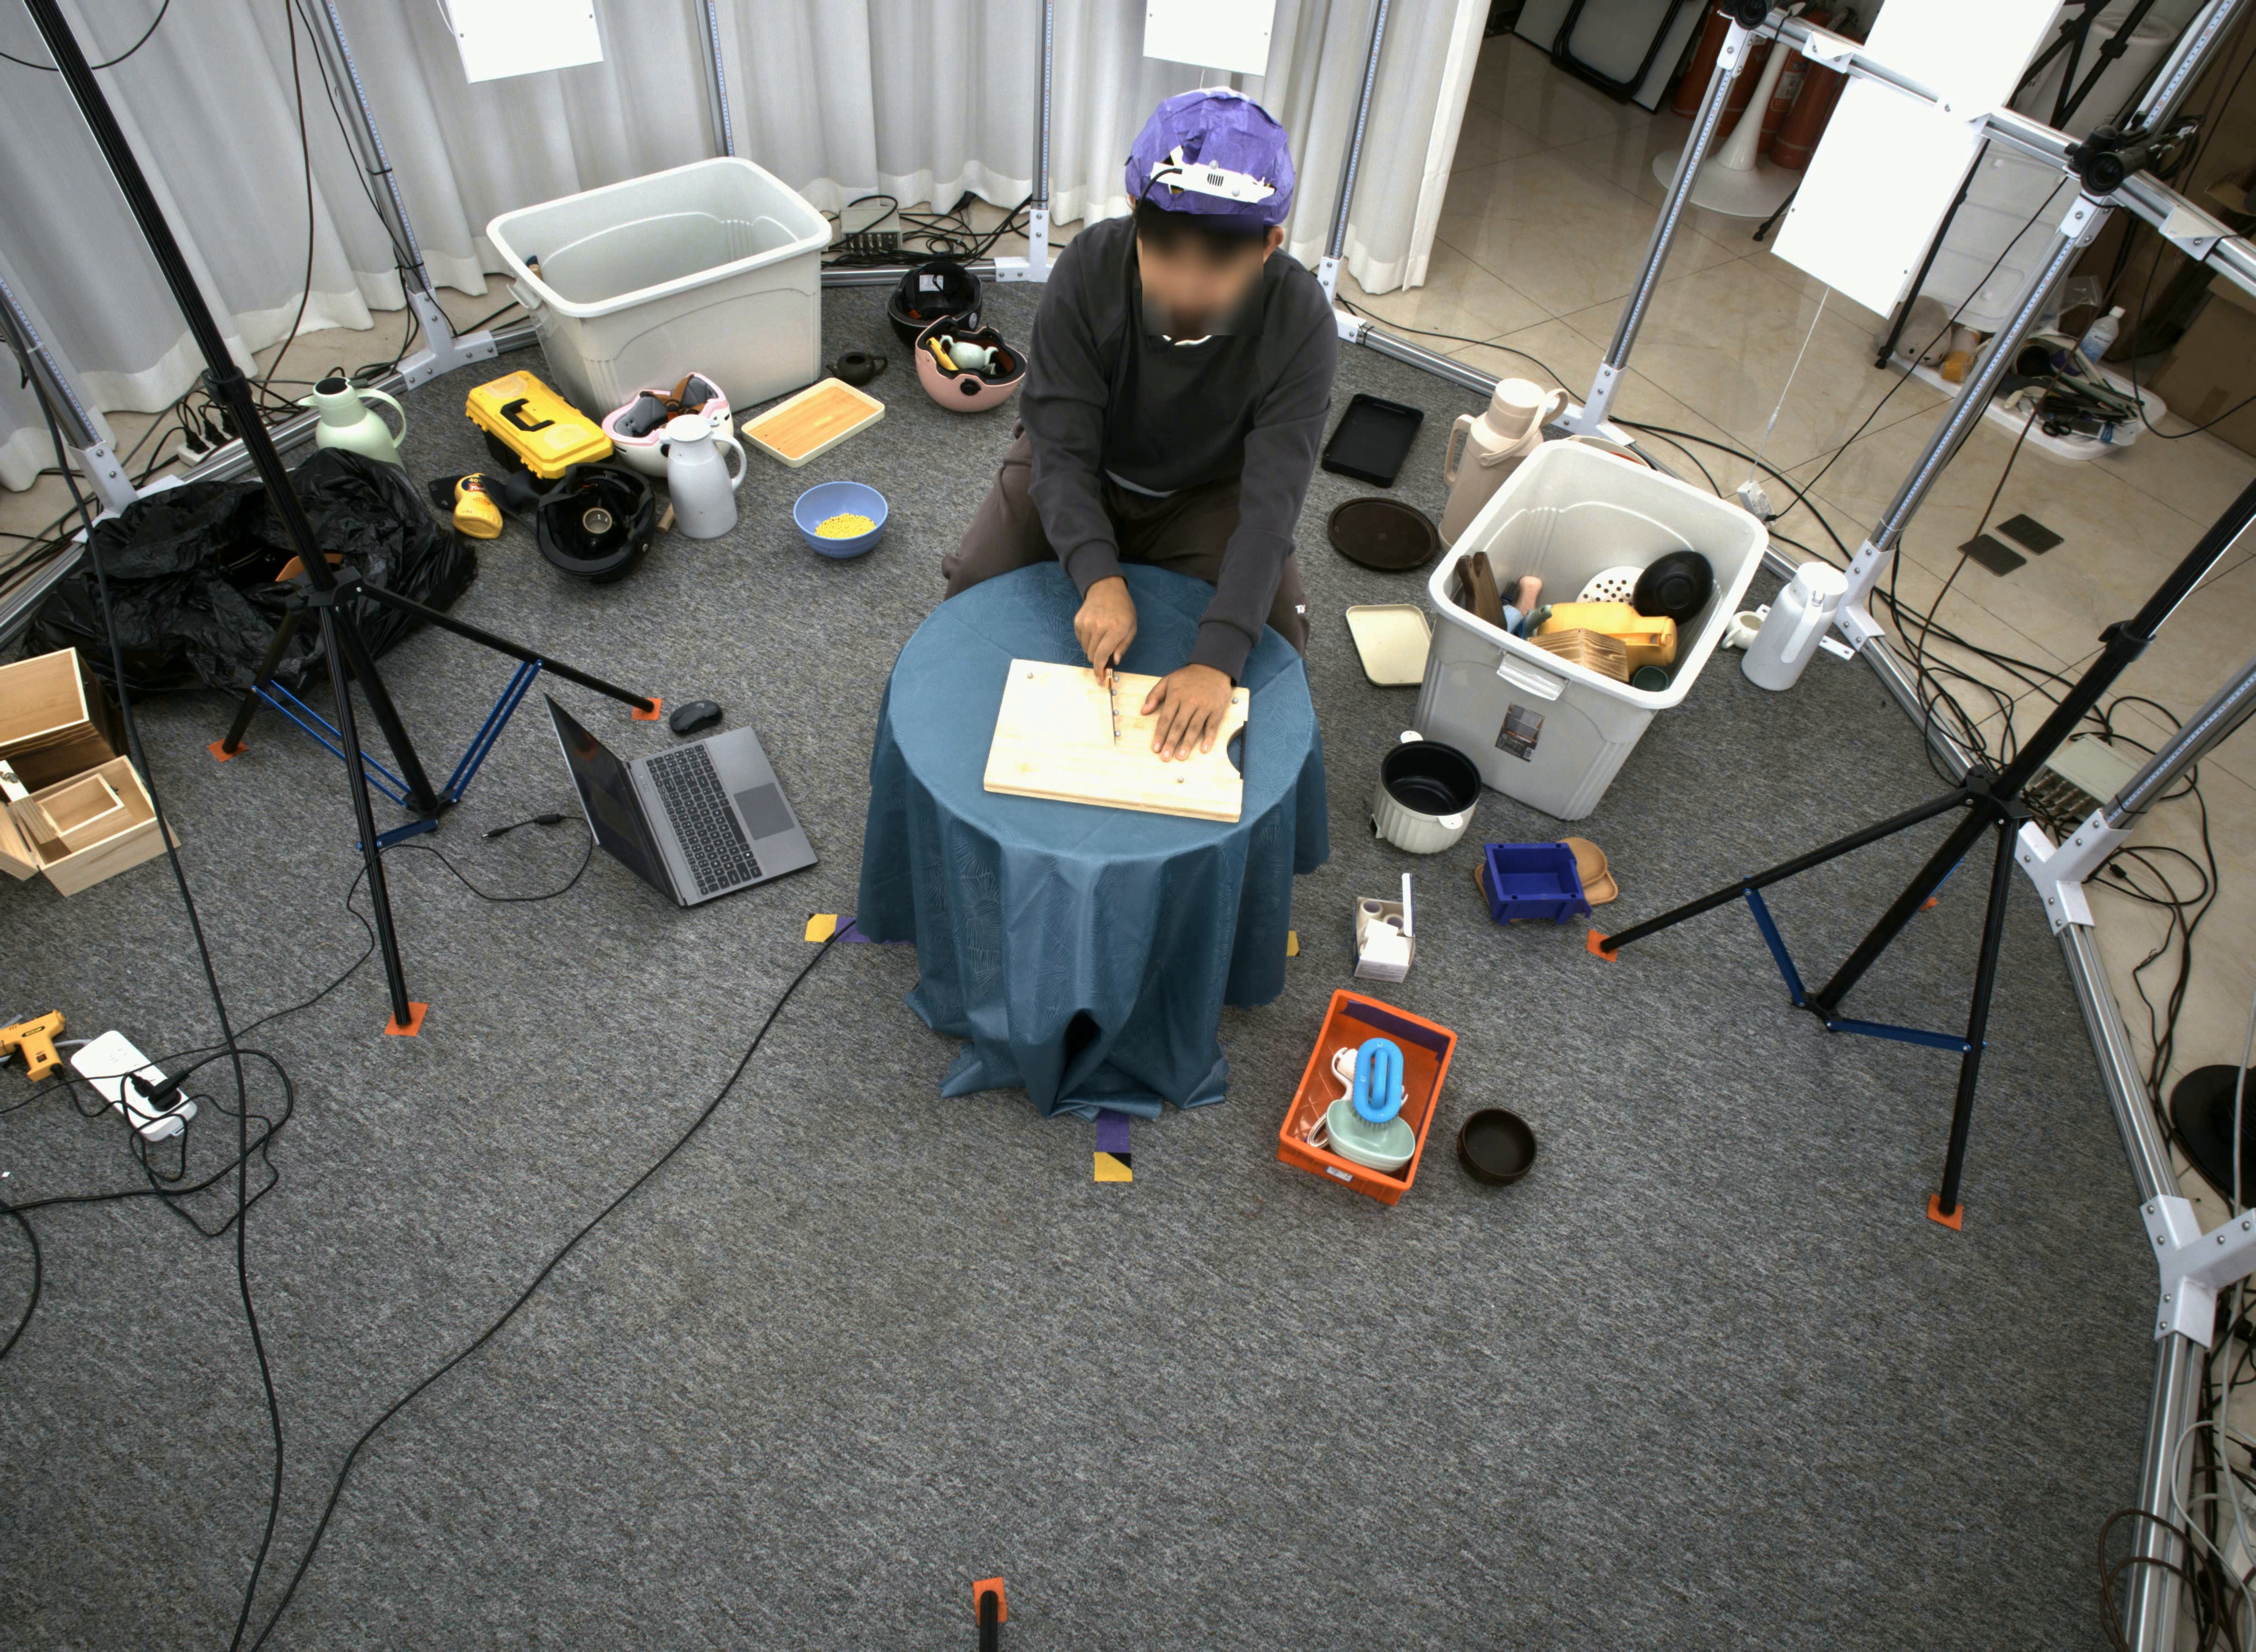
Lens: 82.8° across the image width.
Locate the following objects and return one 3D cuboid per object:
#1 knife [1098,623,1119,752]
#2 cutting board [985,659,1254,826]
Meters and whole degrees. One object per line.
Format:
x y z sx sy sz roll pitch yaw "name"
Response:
-0.025 -0.196 1.788 0.017 0.025 0.231 -4 54 -5 "knife"
-0.004 -0.120 1.758 0.348 0.023 0.257 6 49 1 "cutting board"
